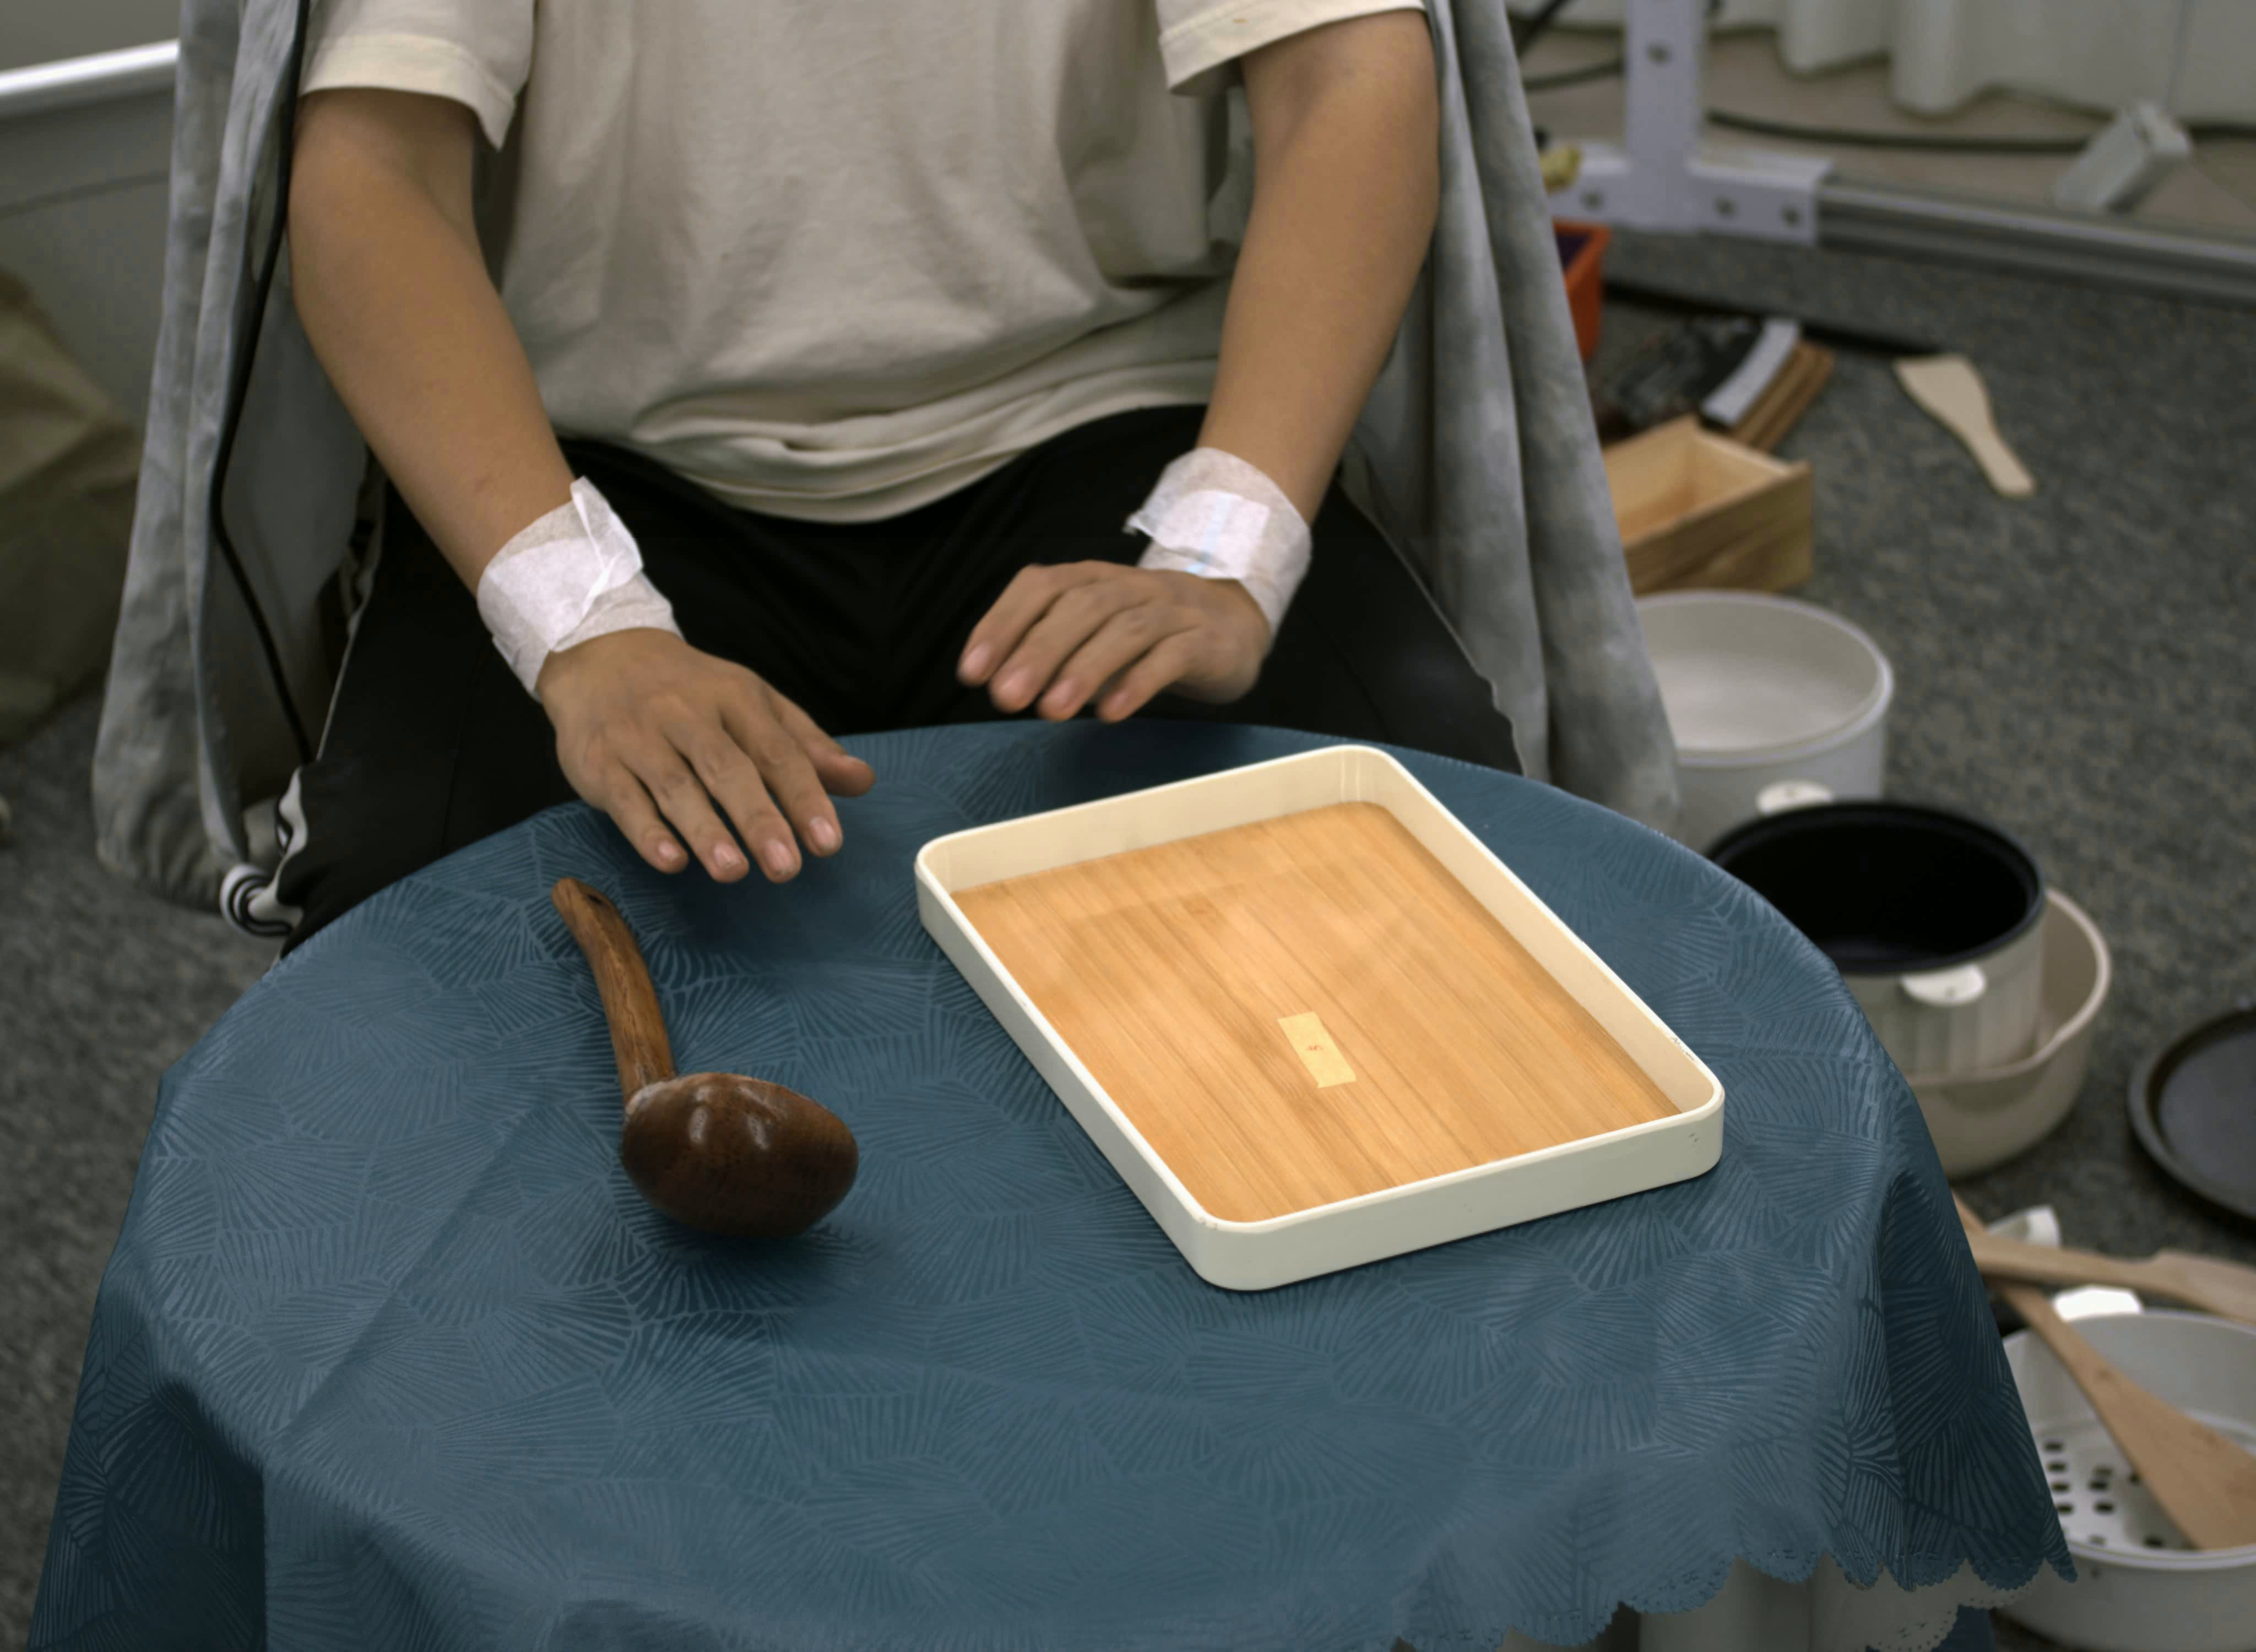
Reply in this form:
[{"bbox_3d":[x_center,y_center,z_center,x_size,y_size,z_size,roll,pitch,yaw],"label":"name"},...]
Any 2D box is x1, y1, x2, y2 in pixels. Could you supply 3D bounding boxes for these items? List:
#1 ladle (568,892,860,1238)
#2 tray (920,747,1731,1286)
[{"bbox_3d":[-0.151,0.061,1.917,0.081,0.076,0.277,32,14,-24],"label":"ladle"},{"bbox_3d":[0.062,0.060,1.944,0.192,0.027,0.302,-13,29,-18],"label":"tray"}]
